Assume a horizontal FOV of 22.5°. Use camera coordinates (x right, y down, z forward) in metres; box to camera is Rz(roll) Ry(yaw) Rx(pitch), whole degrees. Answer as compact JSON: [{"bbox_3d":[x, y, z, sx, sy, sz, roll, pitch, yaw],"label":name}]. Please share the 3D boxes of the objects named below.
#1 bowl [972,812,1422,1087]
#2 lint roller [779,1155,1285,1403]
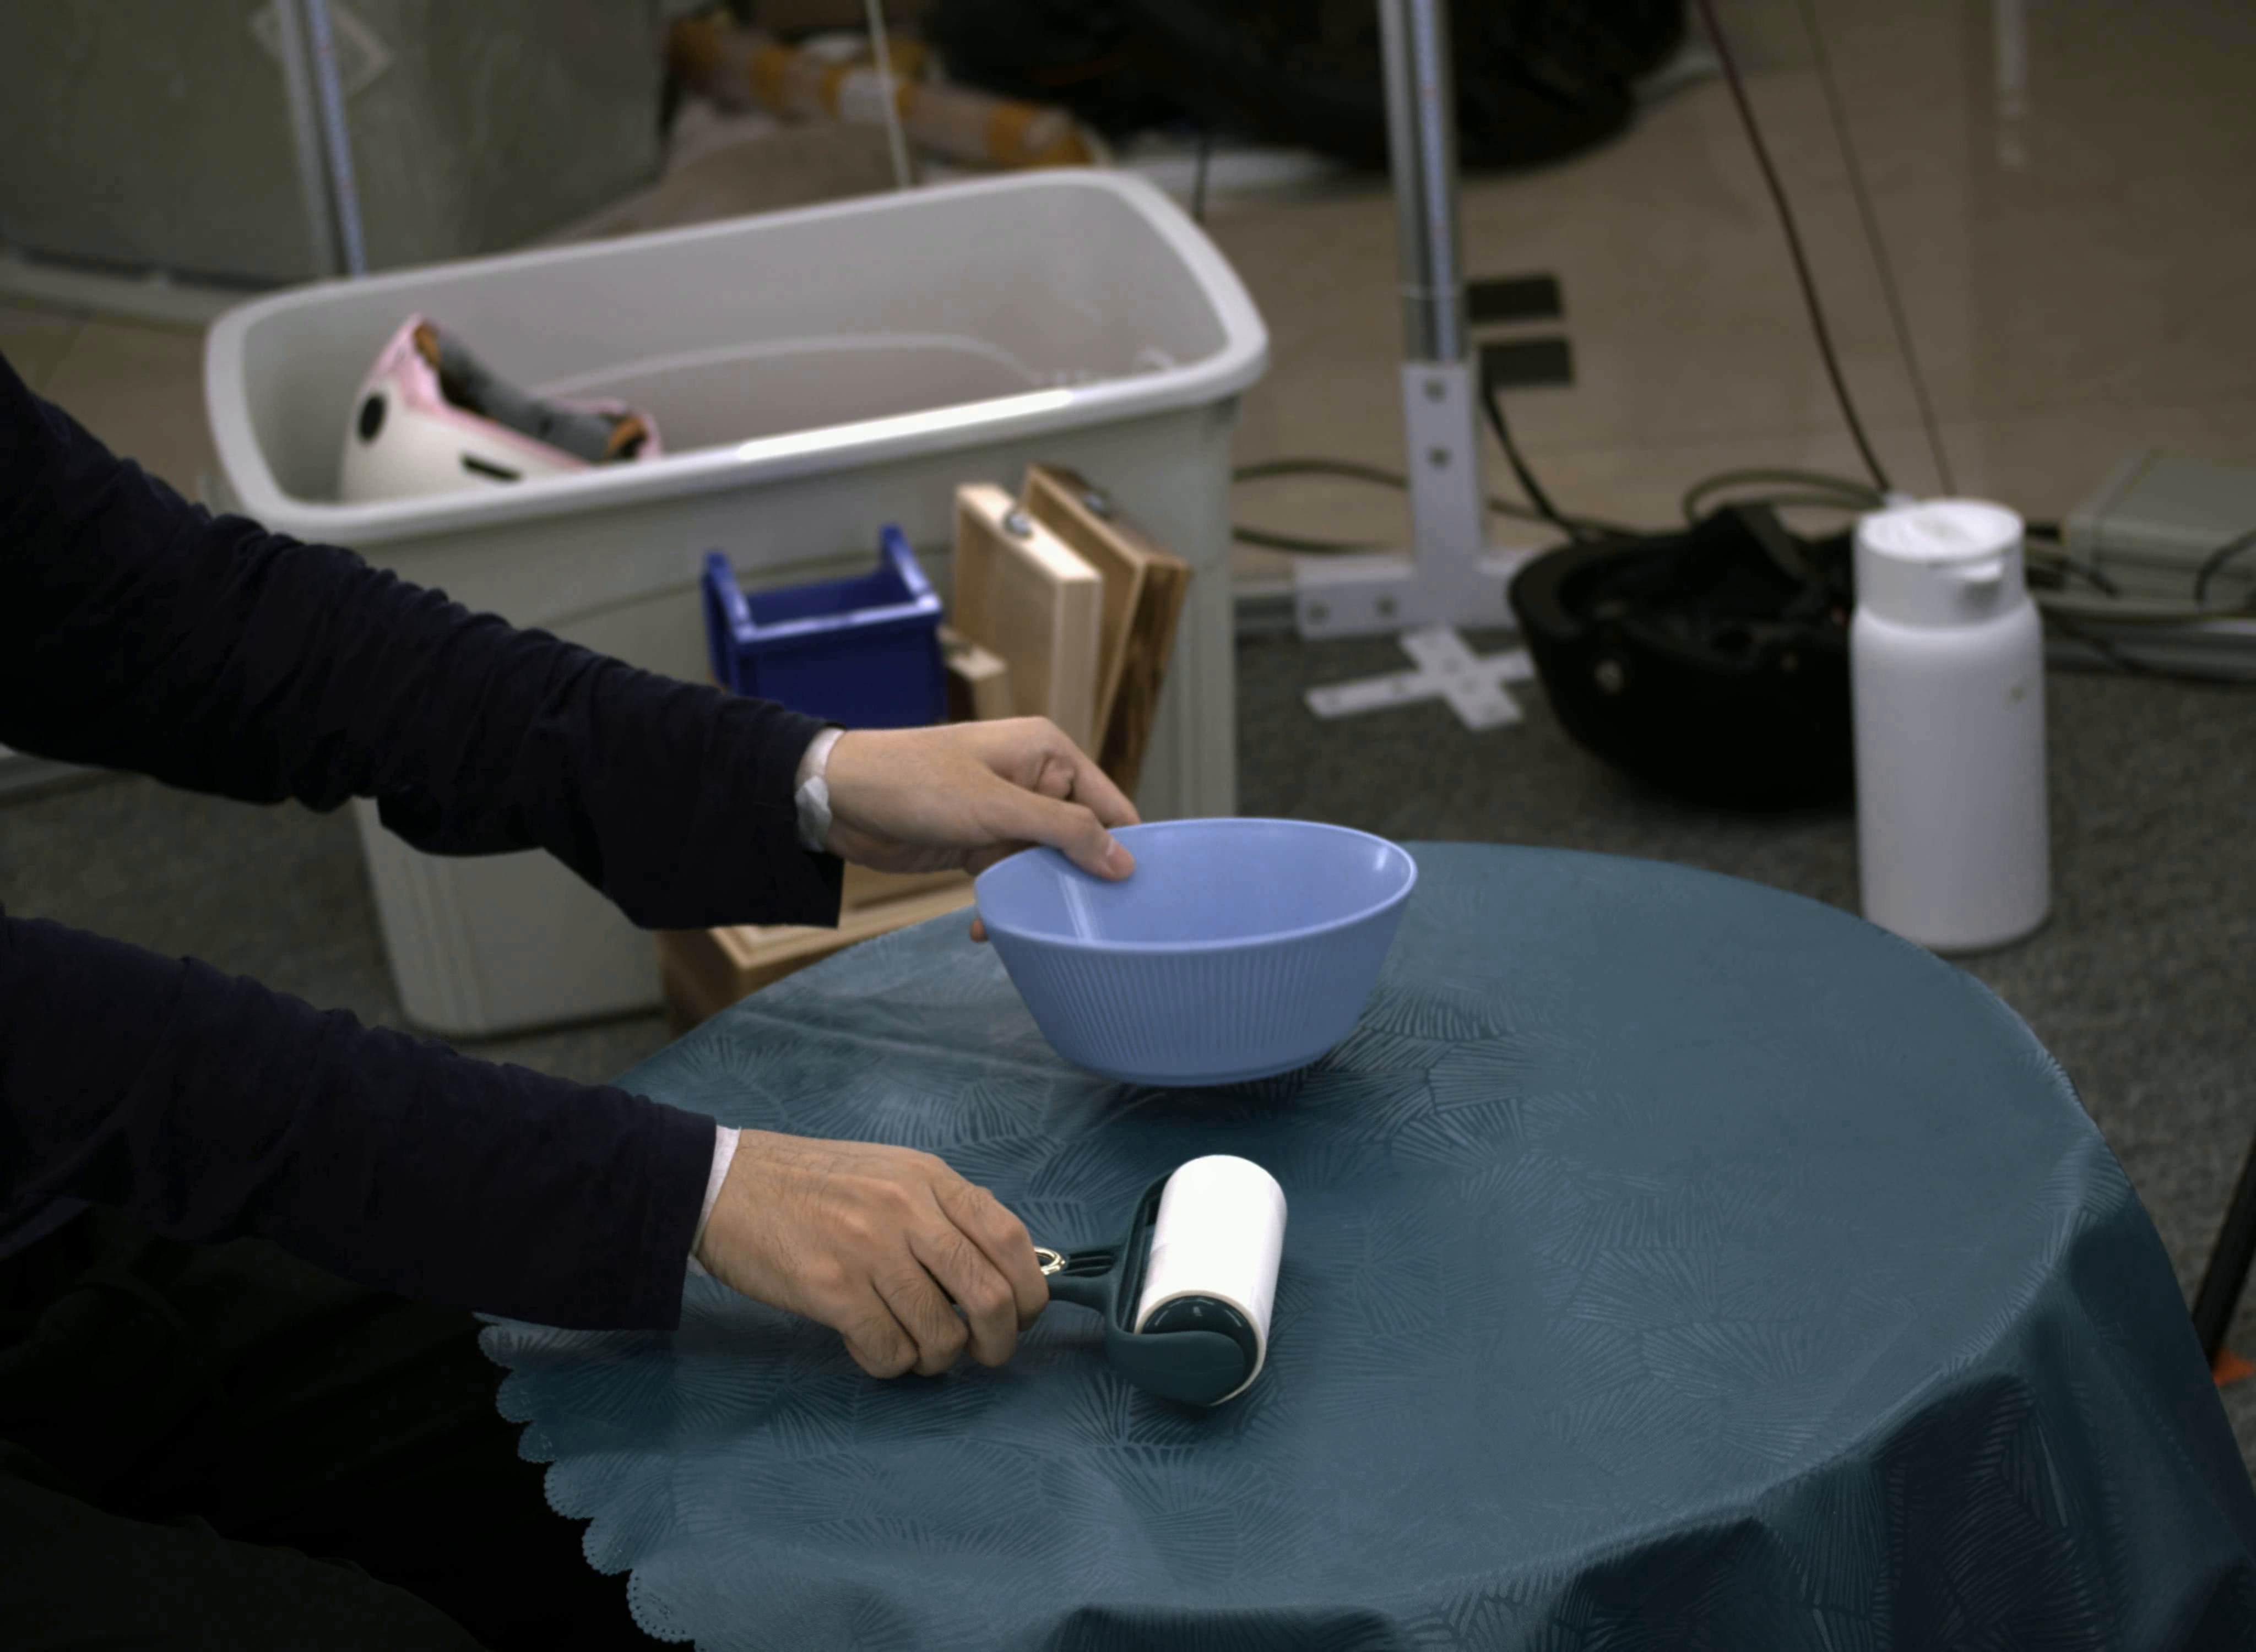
[{"bbox_3d":[0.029,0.051,2.213,0.176,0.071,0.174,-4,17,1],"label":"bowl"},{"bbox_3d":[-0.036,0.158,2.040,0.180,0.049,0.132,4,26,4],"label":"lint roller"}]
